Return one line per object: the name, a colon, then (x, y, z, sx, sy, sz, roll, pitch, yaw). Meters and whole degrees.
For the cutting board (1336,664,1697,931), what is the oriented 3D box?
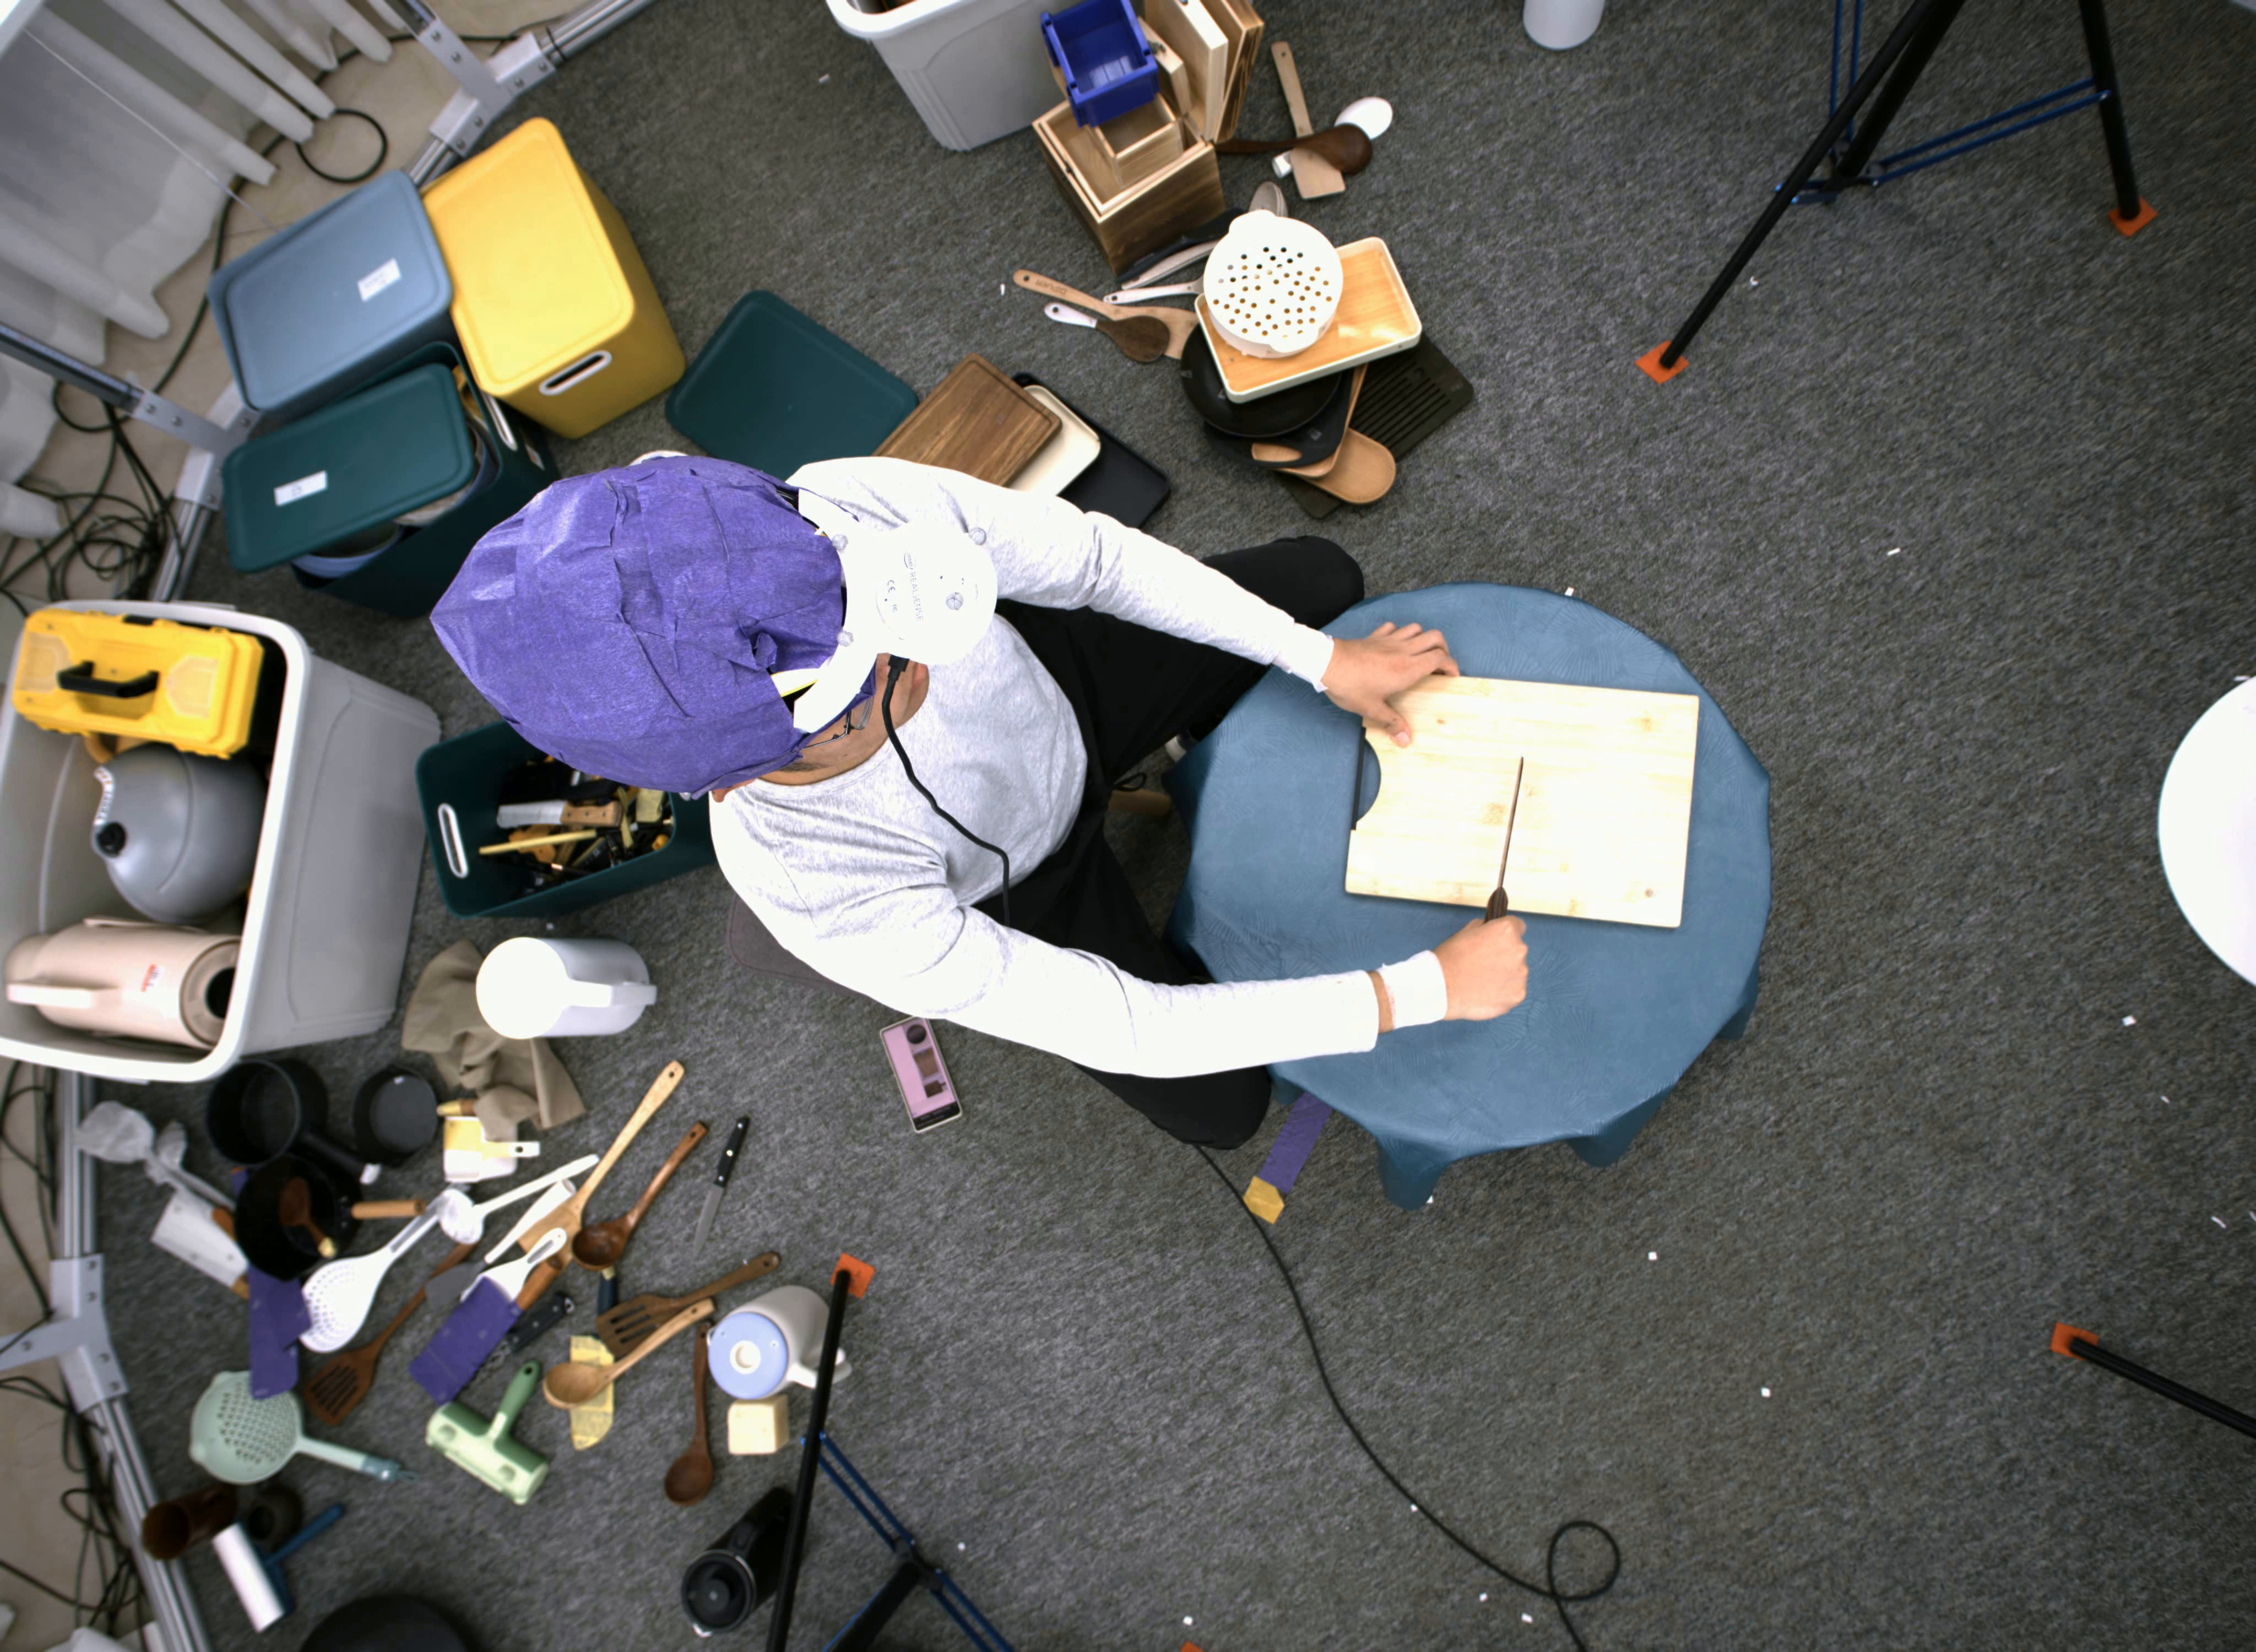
cutting board: (0.403, -0.035, 1.433, 0.350, 0.023, 0.250, 5, 87, 11)

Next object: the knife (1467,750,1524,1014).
knife: (0.366, 0.048, 1.351, 0.020, 0.051, 0.284, 13, 70, 8)
